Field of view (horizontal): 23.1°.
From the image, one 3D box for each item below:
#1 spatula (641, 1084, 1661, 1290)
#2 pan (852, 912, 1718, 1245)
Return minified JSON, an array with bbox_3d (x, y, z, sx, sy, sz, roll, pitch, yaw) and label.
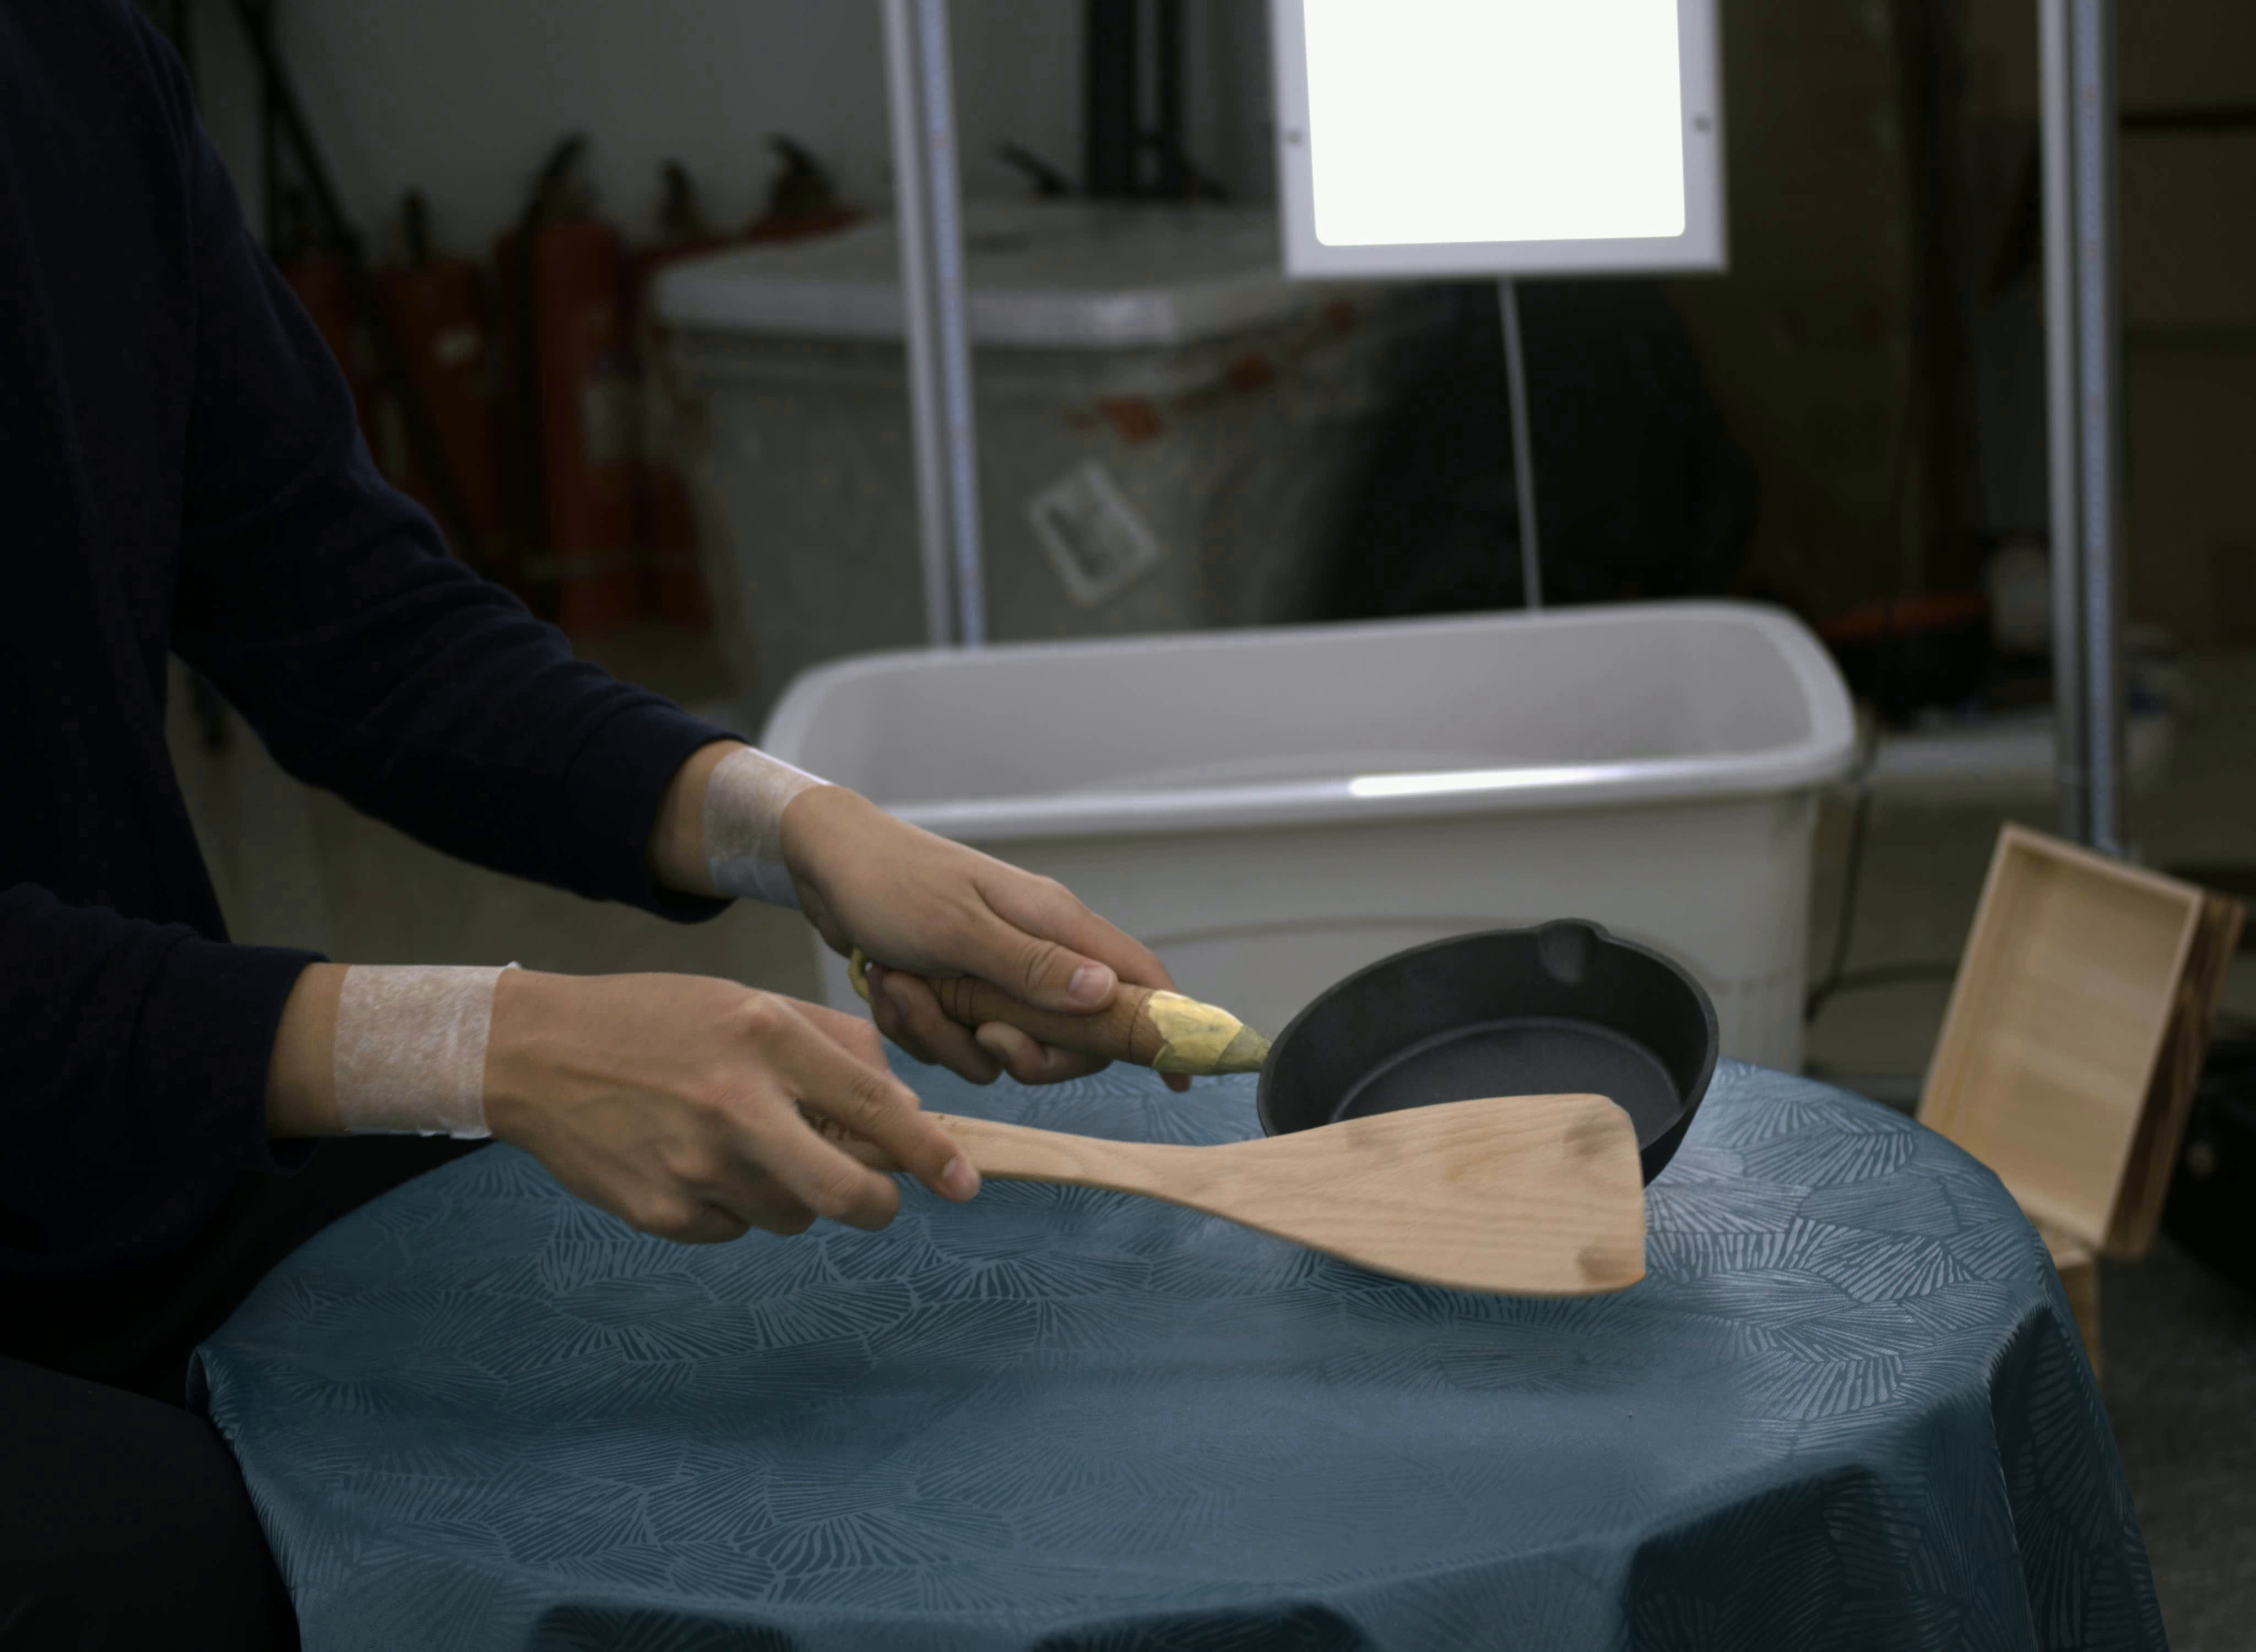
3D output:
[{"bbox_3d":[0.007,0.102,1.725,0.329,0.016,0.079,4,49,11],"label":"spatula"},{"bbox_3d":[0.048,0.076,1.885,0.330,0.049,0.166,8,39,30],"label":"pan"}]
